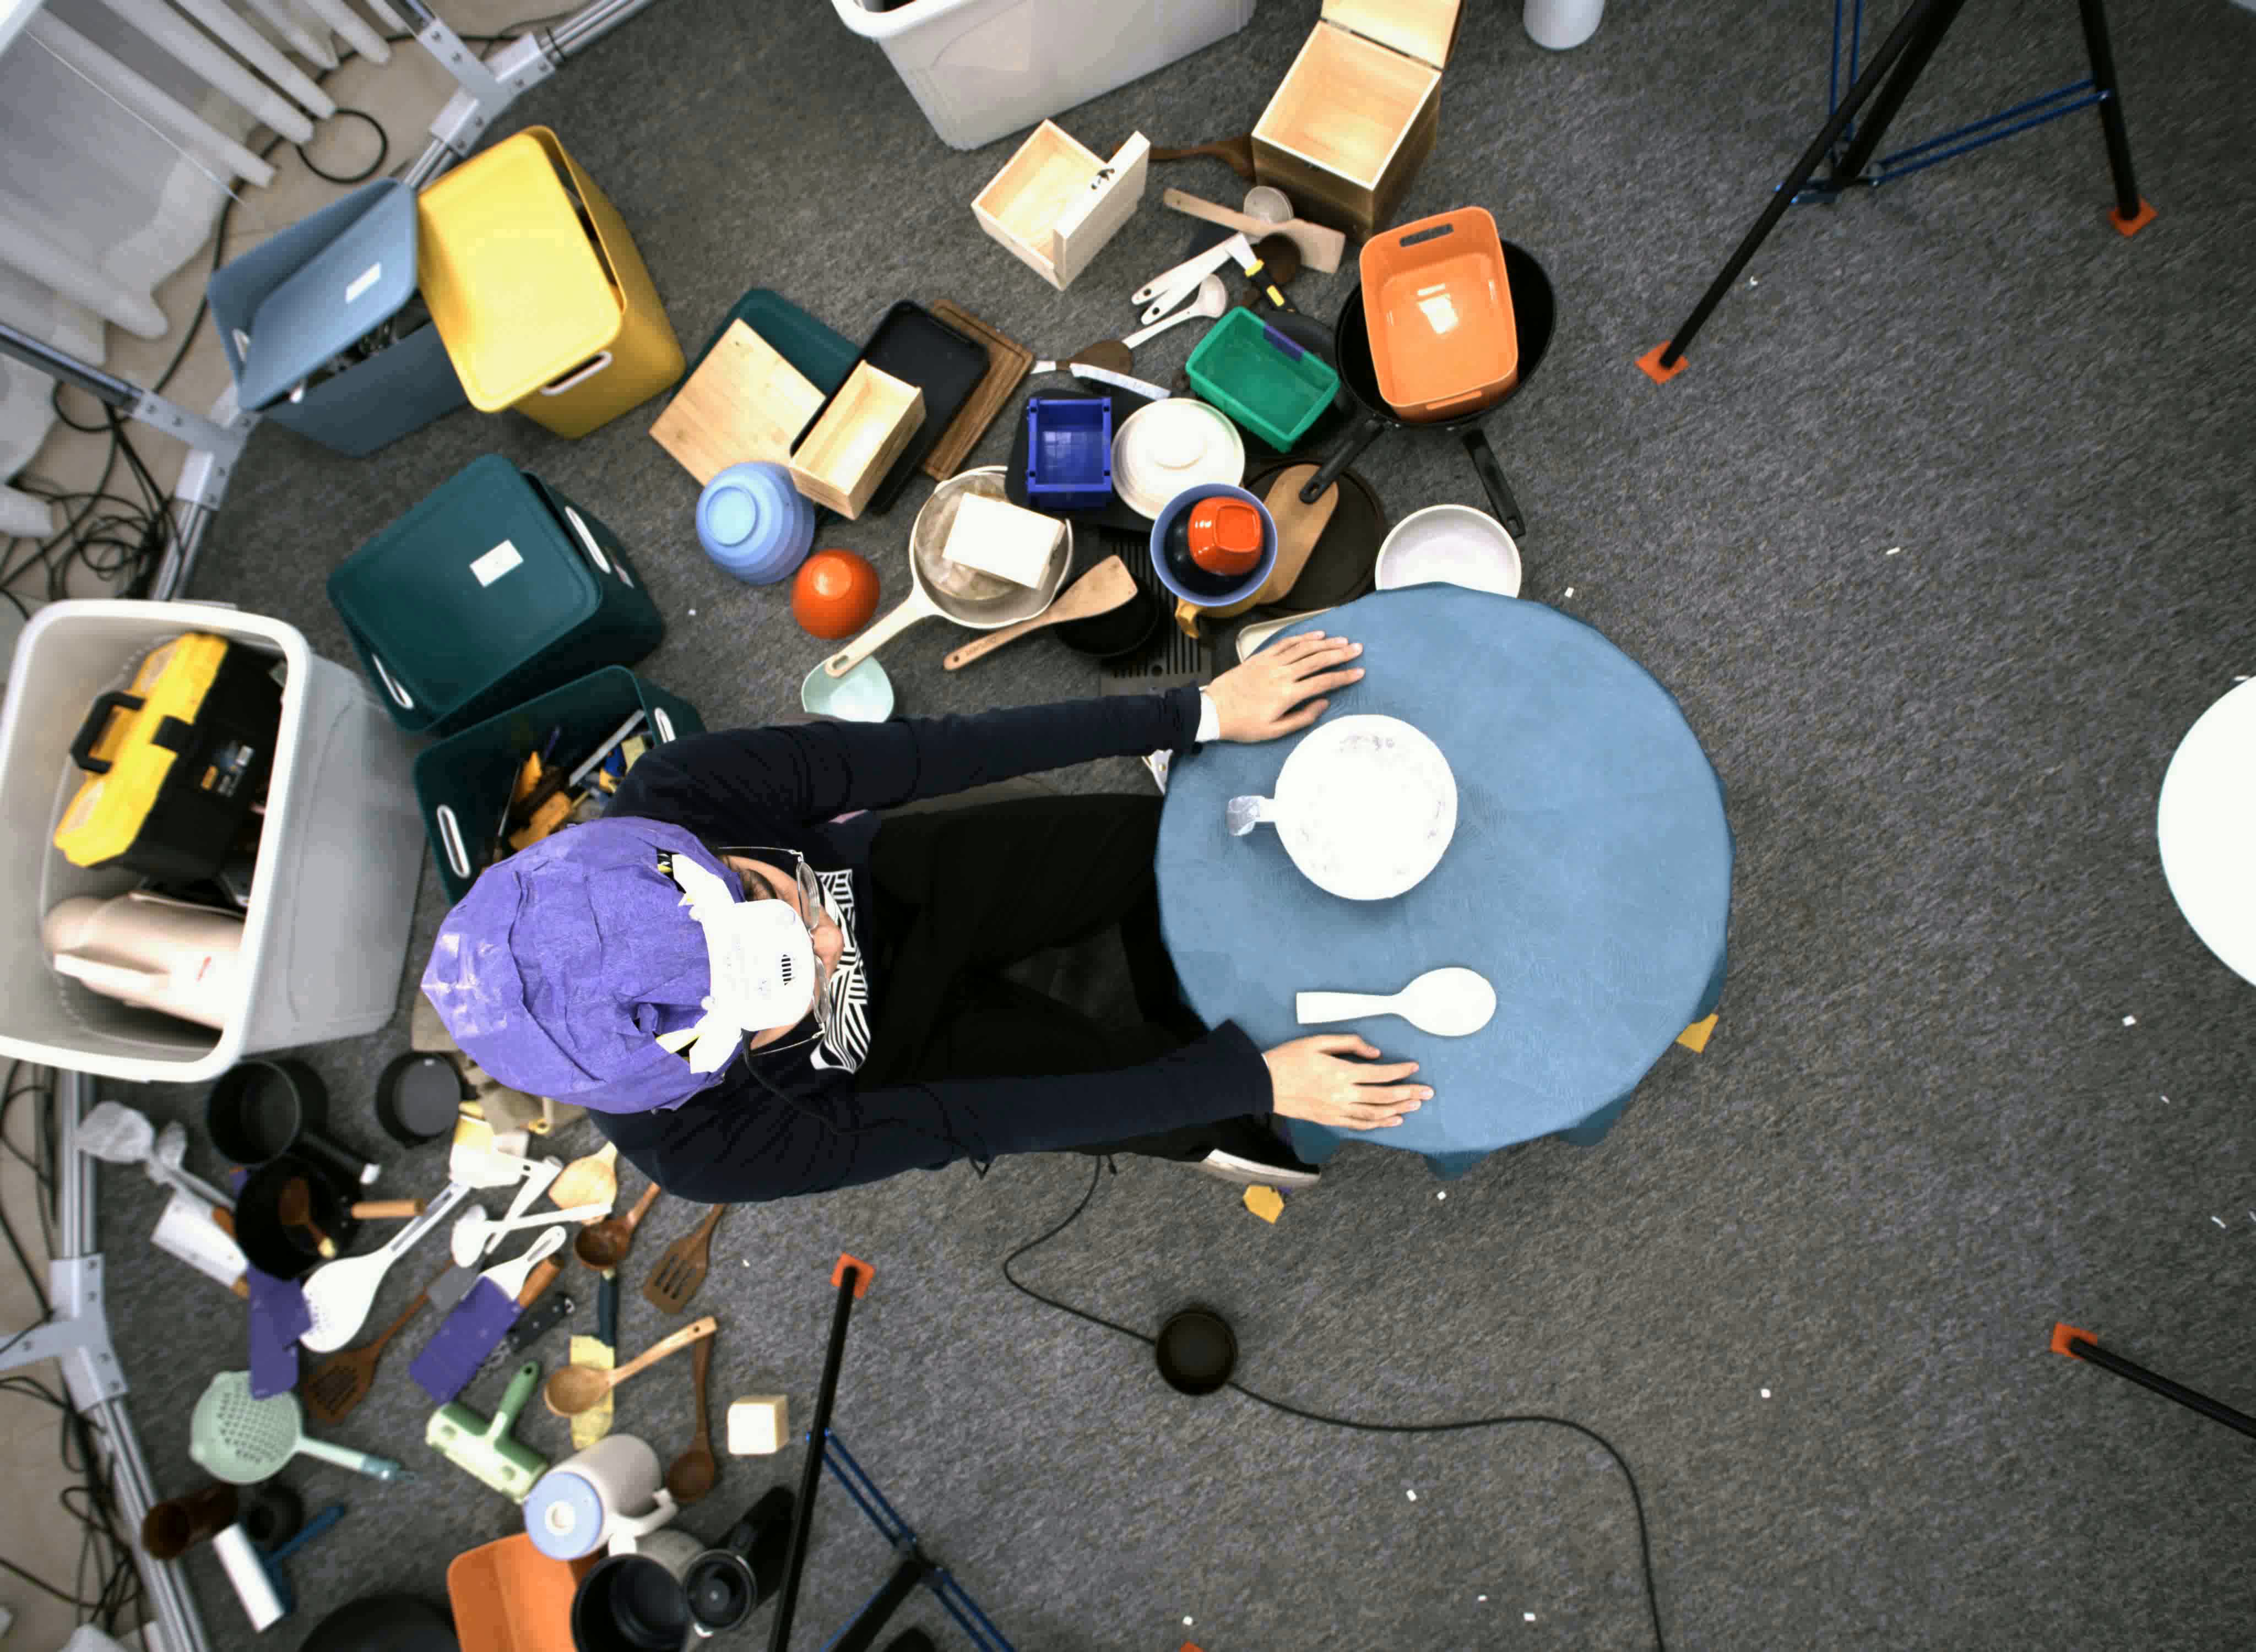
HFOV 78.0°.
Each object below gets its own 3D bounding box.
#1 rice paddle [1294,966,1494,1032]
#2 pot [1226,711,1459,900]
[{"bbox_3d":[0.276,0.182,1.438,0.206,0.029,0.068,-5,88,11],"label":"rice paddle"},{"bbox_3d":[0.214,-0.016,1.405,0.234,0.137,0.177,-3,83,9],"label":"pot"}]
